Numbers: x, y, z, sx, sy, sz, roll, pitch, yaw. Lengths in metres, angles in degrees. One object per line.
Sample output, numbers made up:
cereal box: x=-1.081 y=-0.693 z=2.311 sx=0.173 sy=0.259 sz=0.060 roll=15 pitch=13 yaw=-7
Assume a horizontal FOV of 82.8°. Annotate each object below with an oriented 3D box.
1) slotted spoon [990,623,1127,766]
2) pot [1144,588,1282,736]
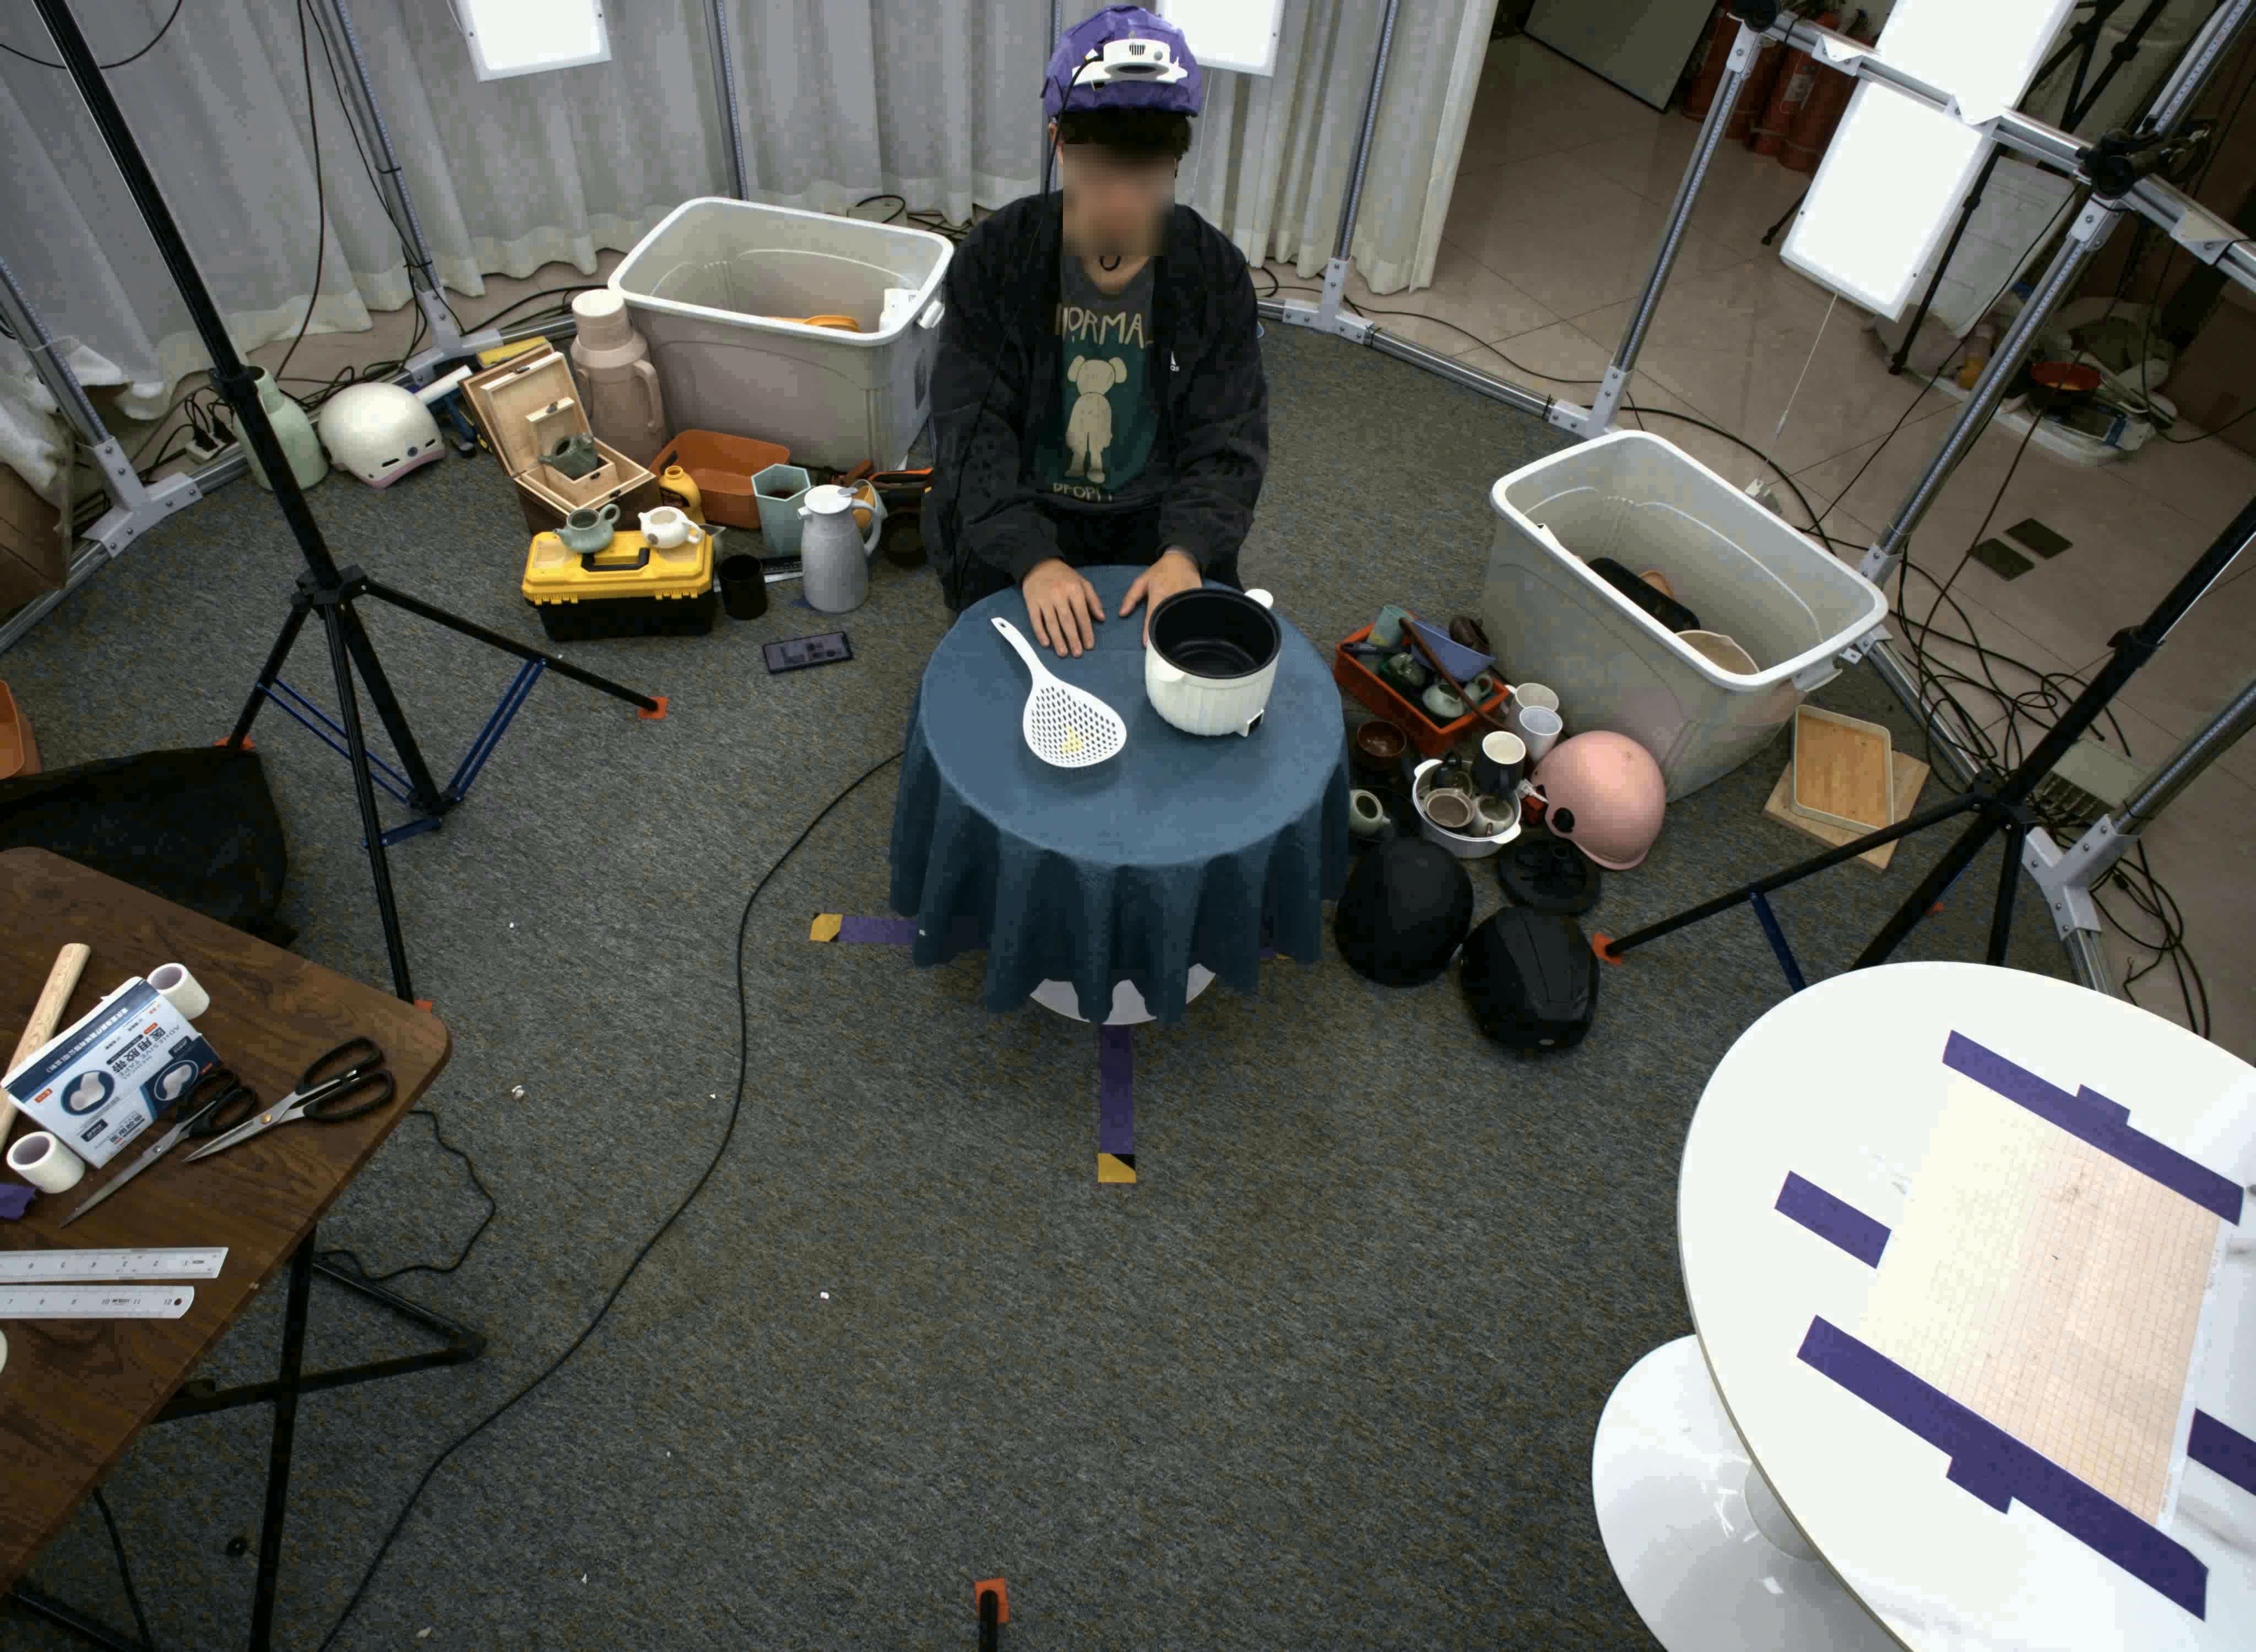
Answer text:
slotted spoon: x=-0.118 y=-0.196 z=1.802 sx=0.137 sy=0.049 sz=0.356 roll=-18 pitch=52 yaw=-17
pot: x=0.108 y=-0.222 z=1.777 sx=0.193 sy=0.139 sz=0.243 roll=35 pitch=54 yaw=21
